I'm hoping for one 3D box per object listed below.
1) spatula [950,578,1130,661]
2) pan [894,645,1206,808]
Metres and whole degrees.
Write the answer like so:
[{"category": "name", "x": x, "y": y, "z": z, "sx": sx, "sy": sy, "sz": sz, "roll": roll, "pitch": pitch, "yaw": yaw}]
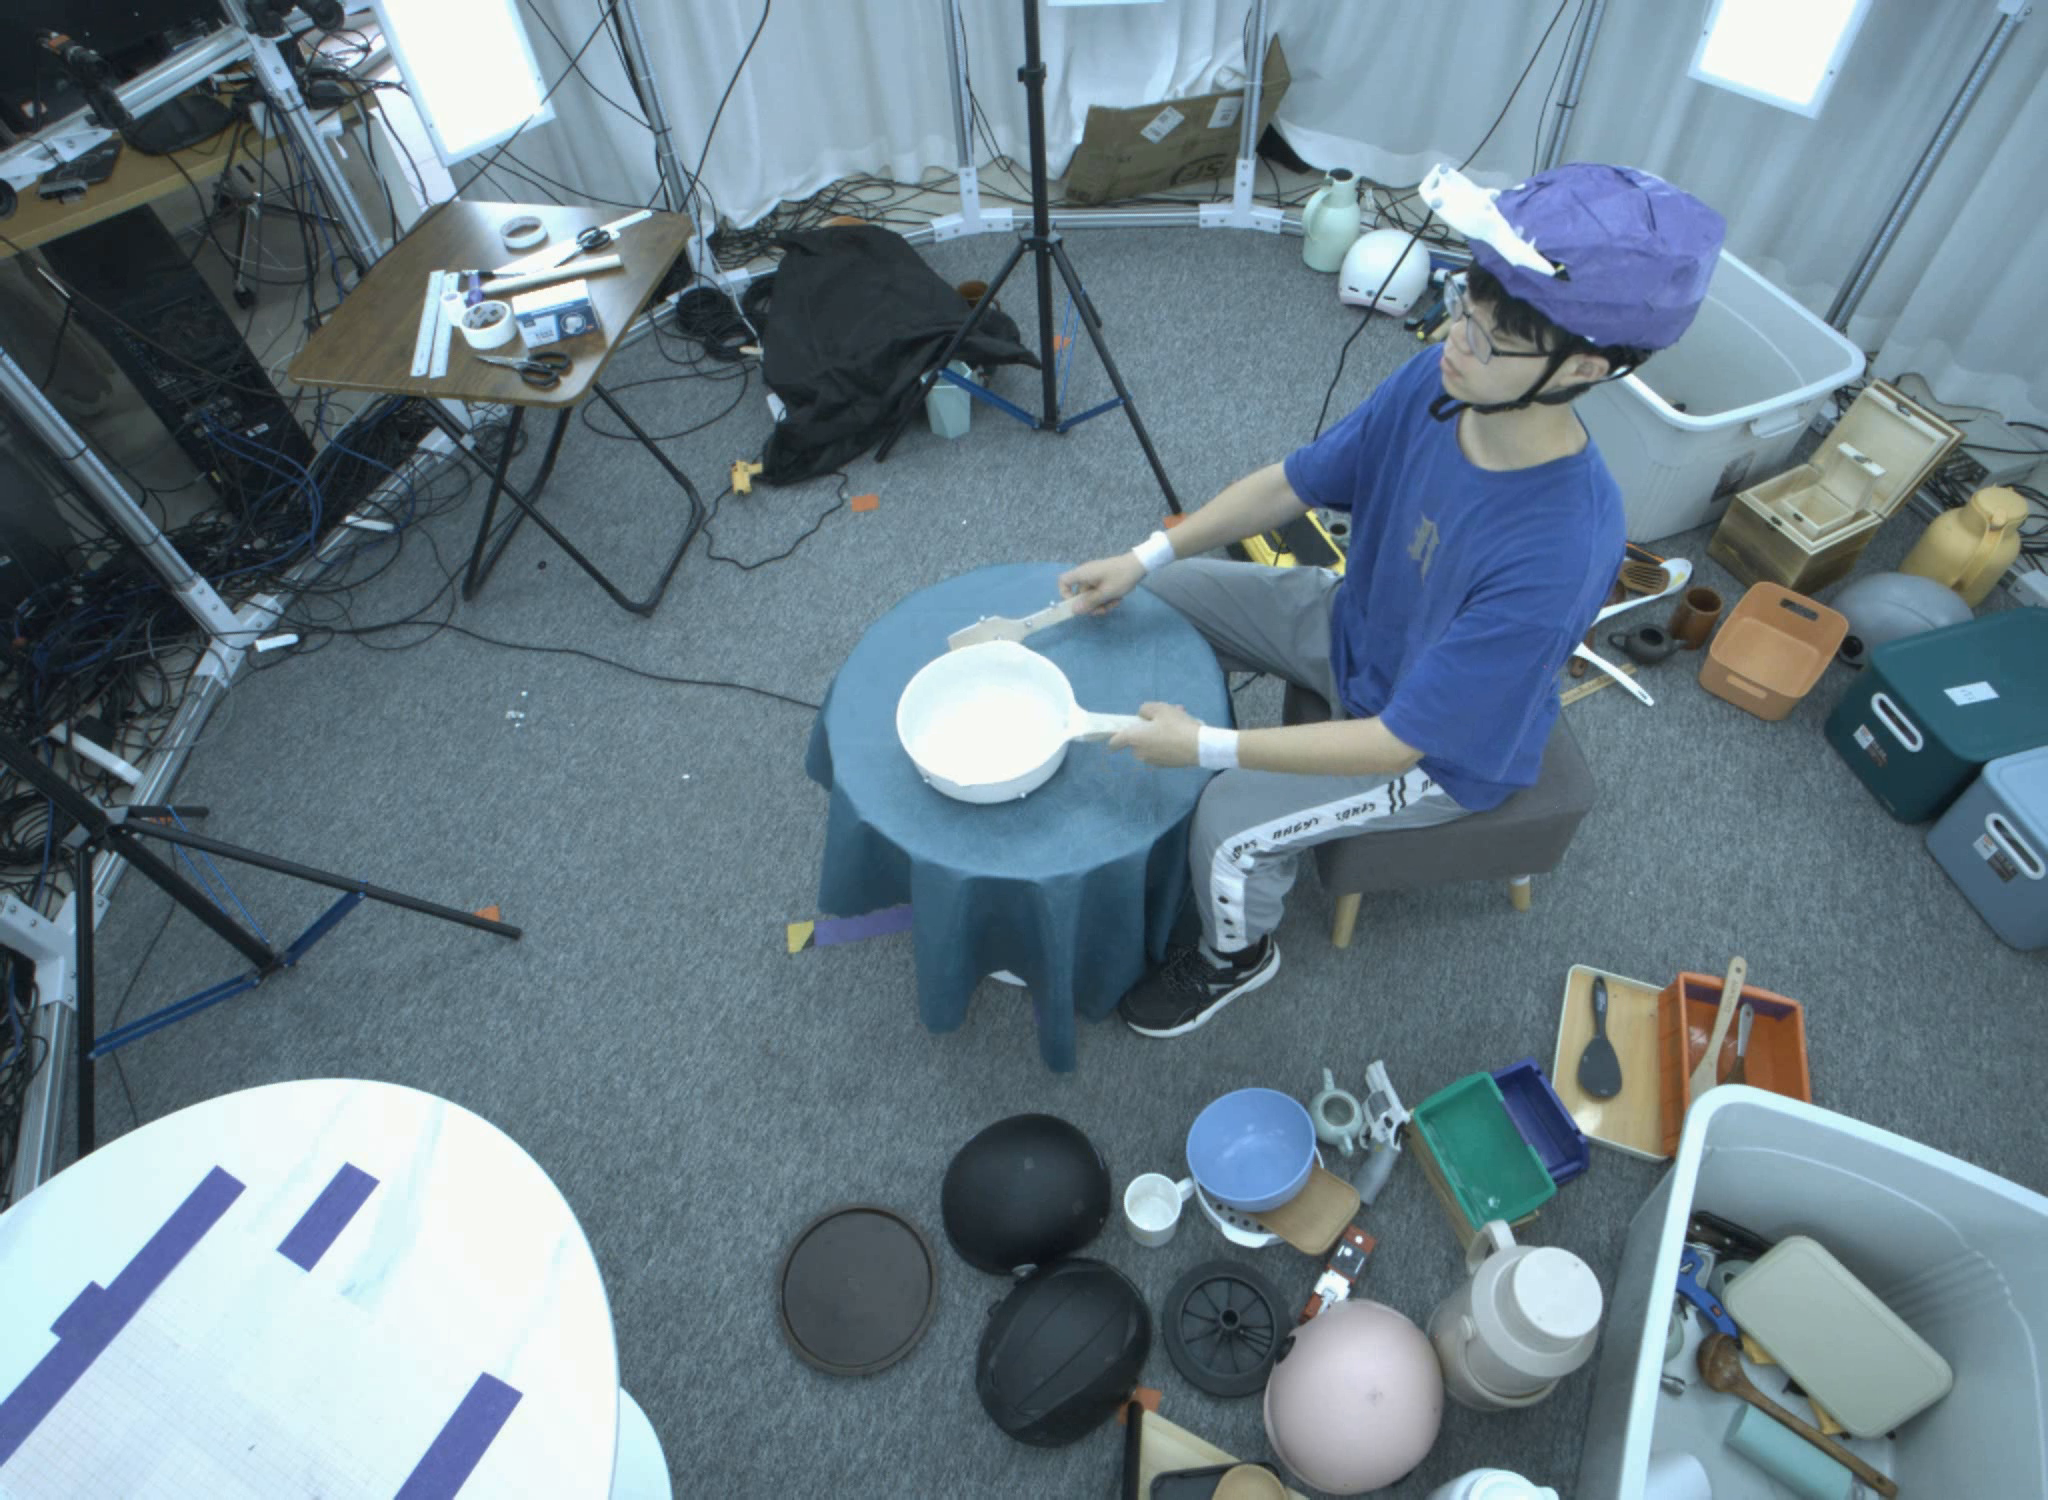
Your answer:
[{"category": "spatula", "x": 0.029, "y": -0.198, "z": 1.873, "sx": 0.294, "sy": 0.073, "sz": 0.010, "roll": -24, "pitch": 18, "yaw": -10}, {"category": "pan", "x": 0.036, "y": -0.021, "z": 1.724, "sx": 0.432, "sy": 0.103, "sz": 0.262, "roll": 7, "pitch": 53, "yaw": 8}]
